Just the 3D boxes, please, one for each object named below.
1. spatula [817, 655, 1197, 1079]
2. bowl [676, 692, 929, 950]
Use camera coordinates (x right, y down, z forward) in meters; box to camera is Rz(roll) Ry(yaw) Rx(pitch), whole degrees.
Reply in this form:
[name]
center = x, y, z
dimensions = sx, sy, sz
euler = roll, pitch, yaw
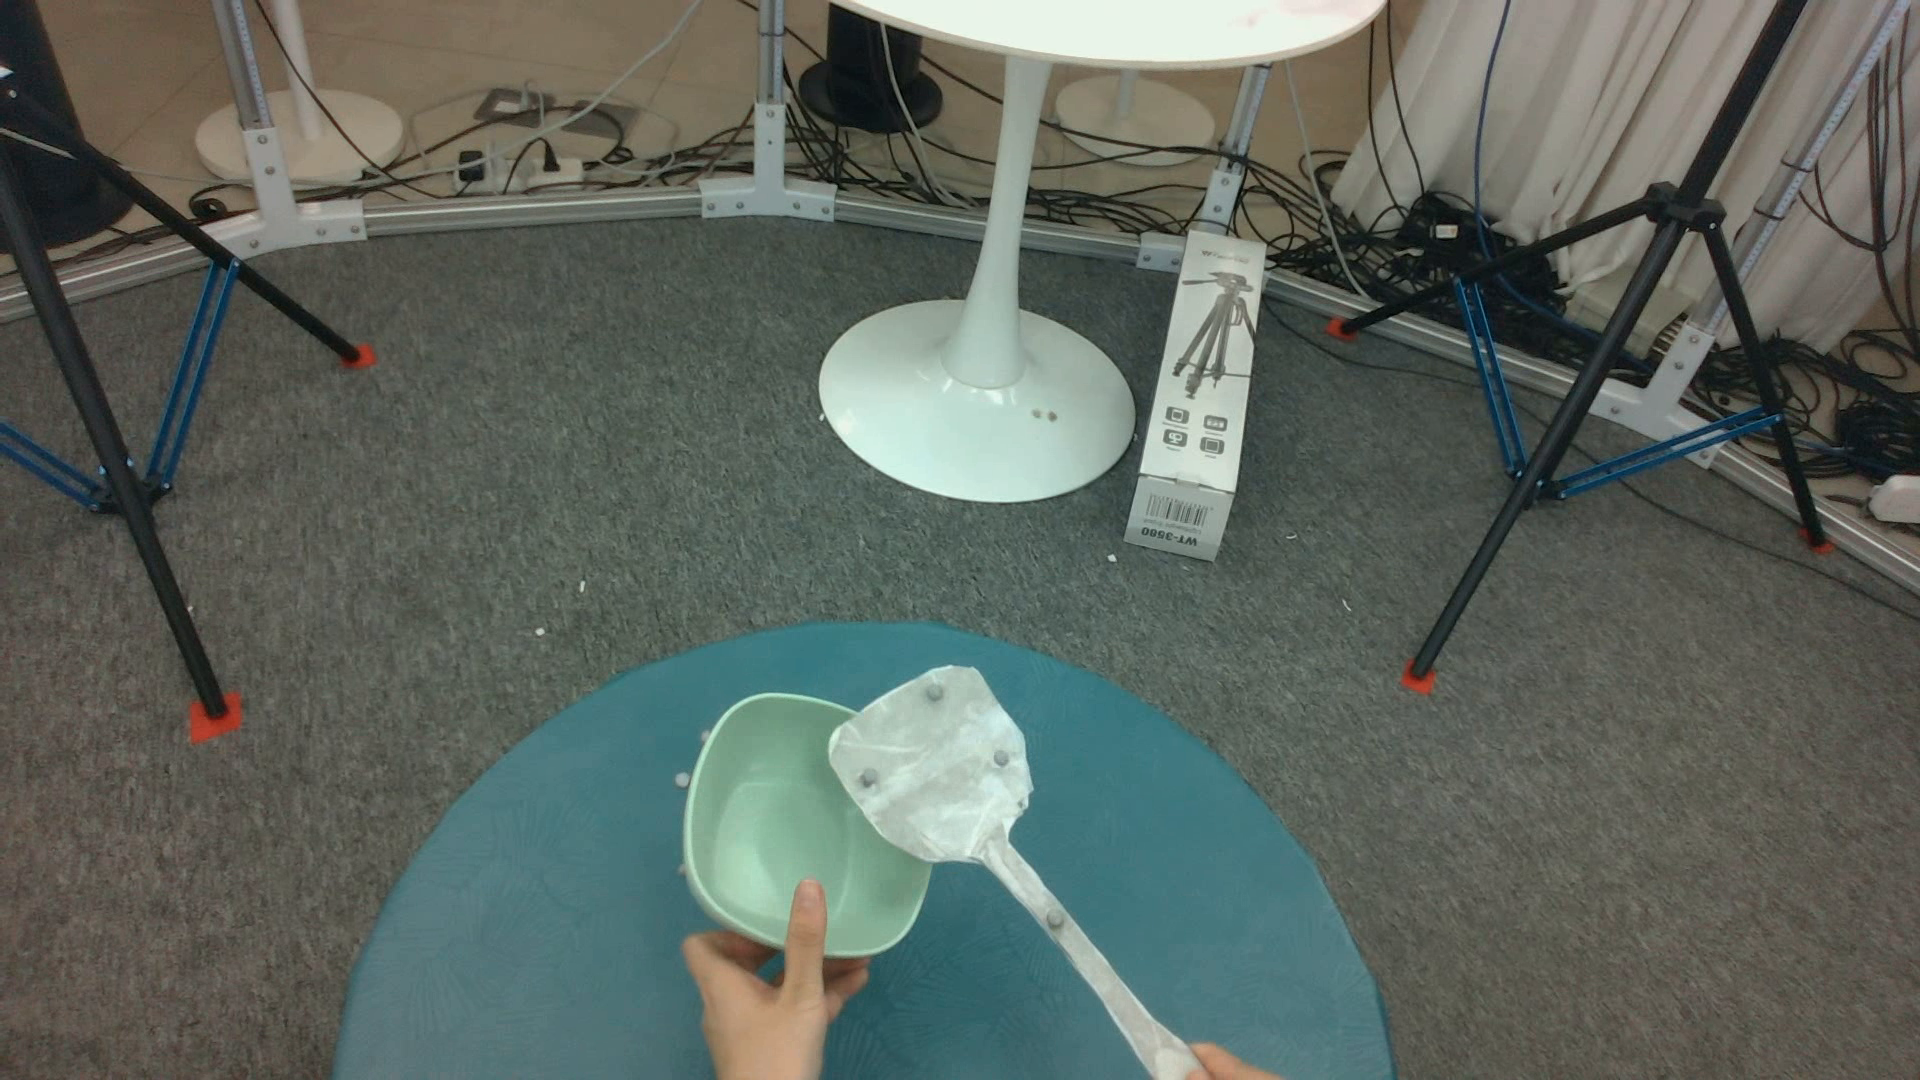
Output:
[spatula]
center = 0.052, 0.191, 0.651
dimensions = 0.099, 0.044, 0.365
euler = -26, 47, -20
[bowl]
center = -0.091, 0.158, 0.743
dimensions = 0.151, 0.058, 0.152
euler = 16, 51, -20
